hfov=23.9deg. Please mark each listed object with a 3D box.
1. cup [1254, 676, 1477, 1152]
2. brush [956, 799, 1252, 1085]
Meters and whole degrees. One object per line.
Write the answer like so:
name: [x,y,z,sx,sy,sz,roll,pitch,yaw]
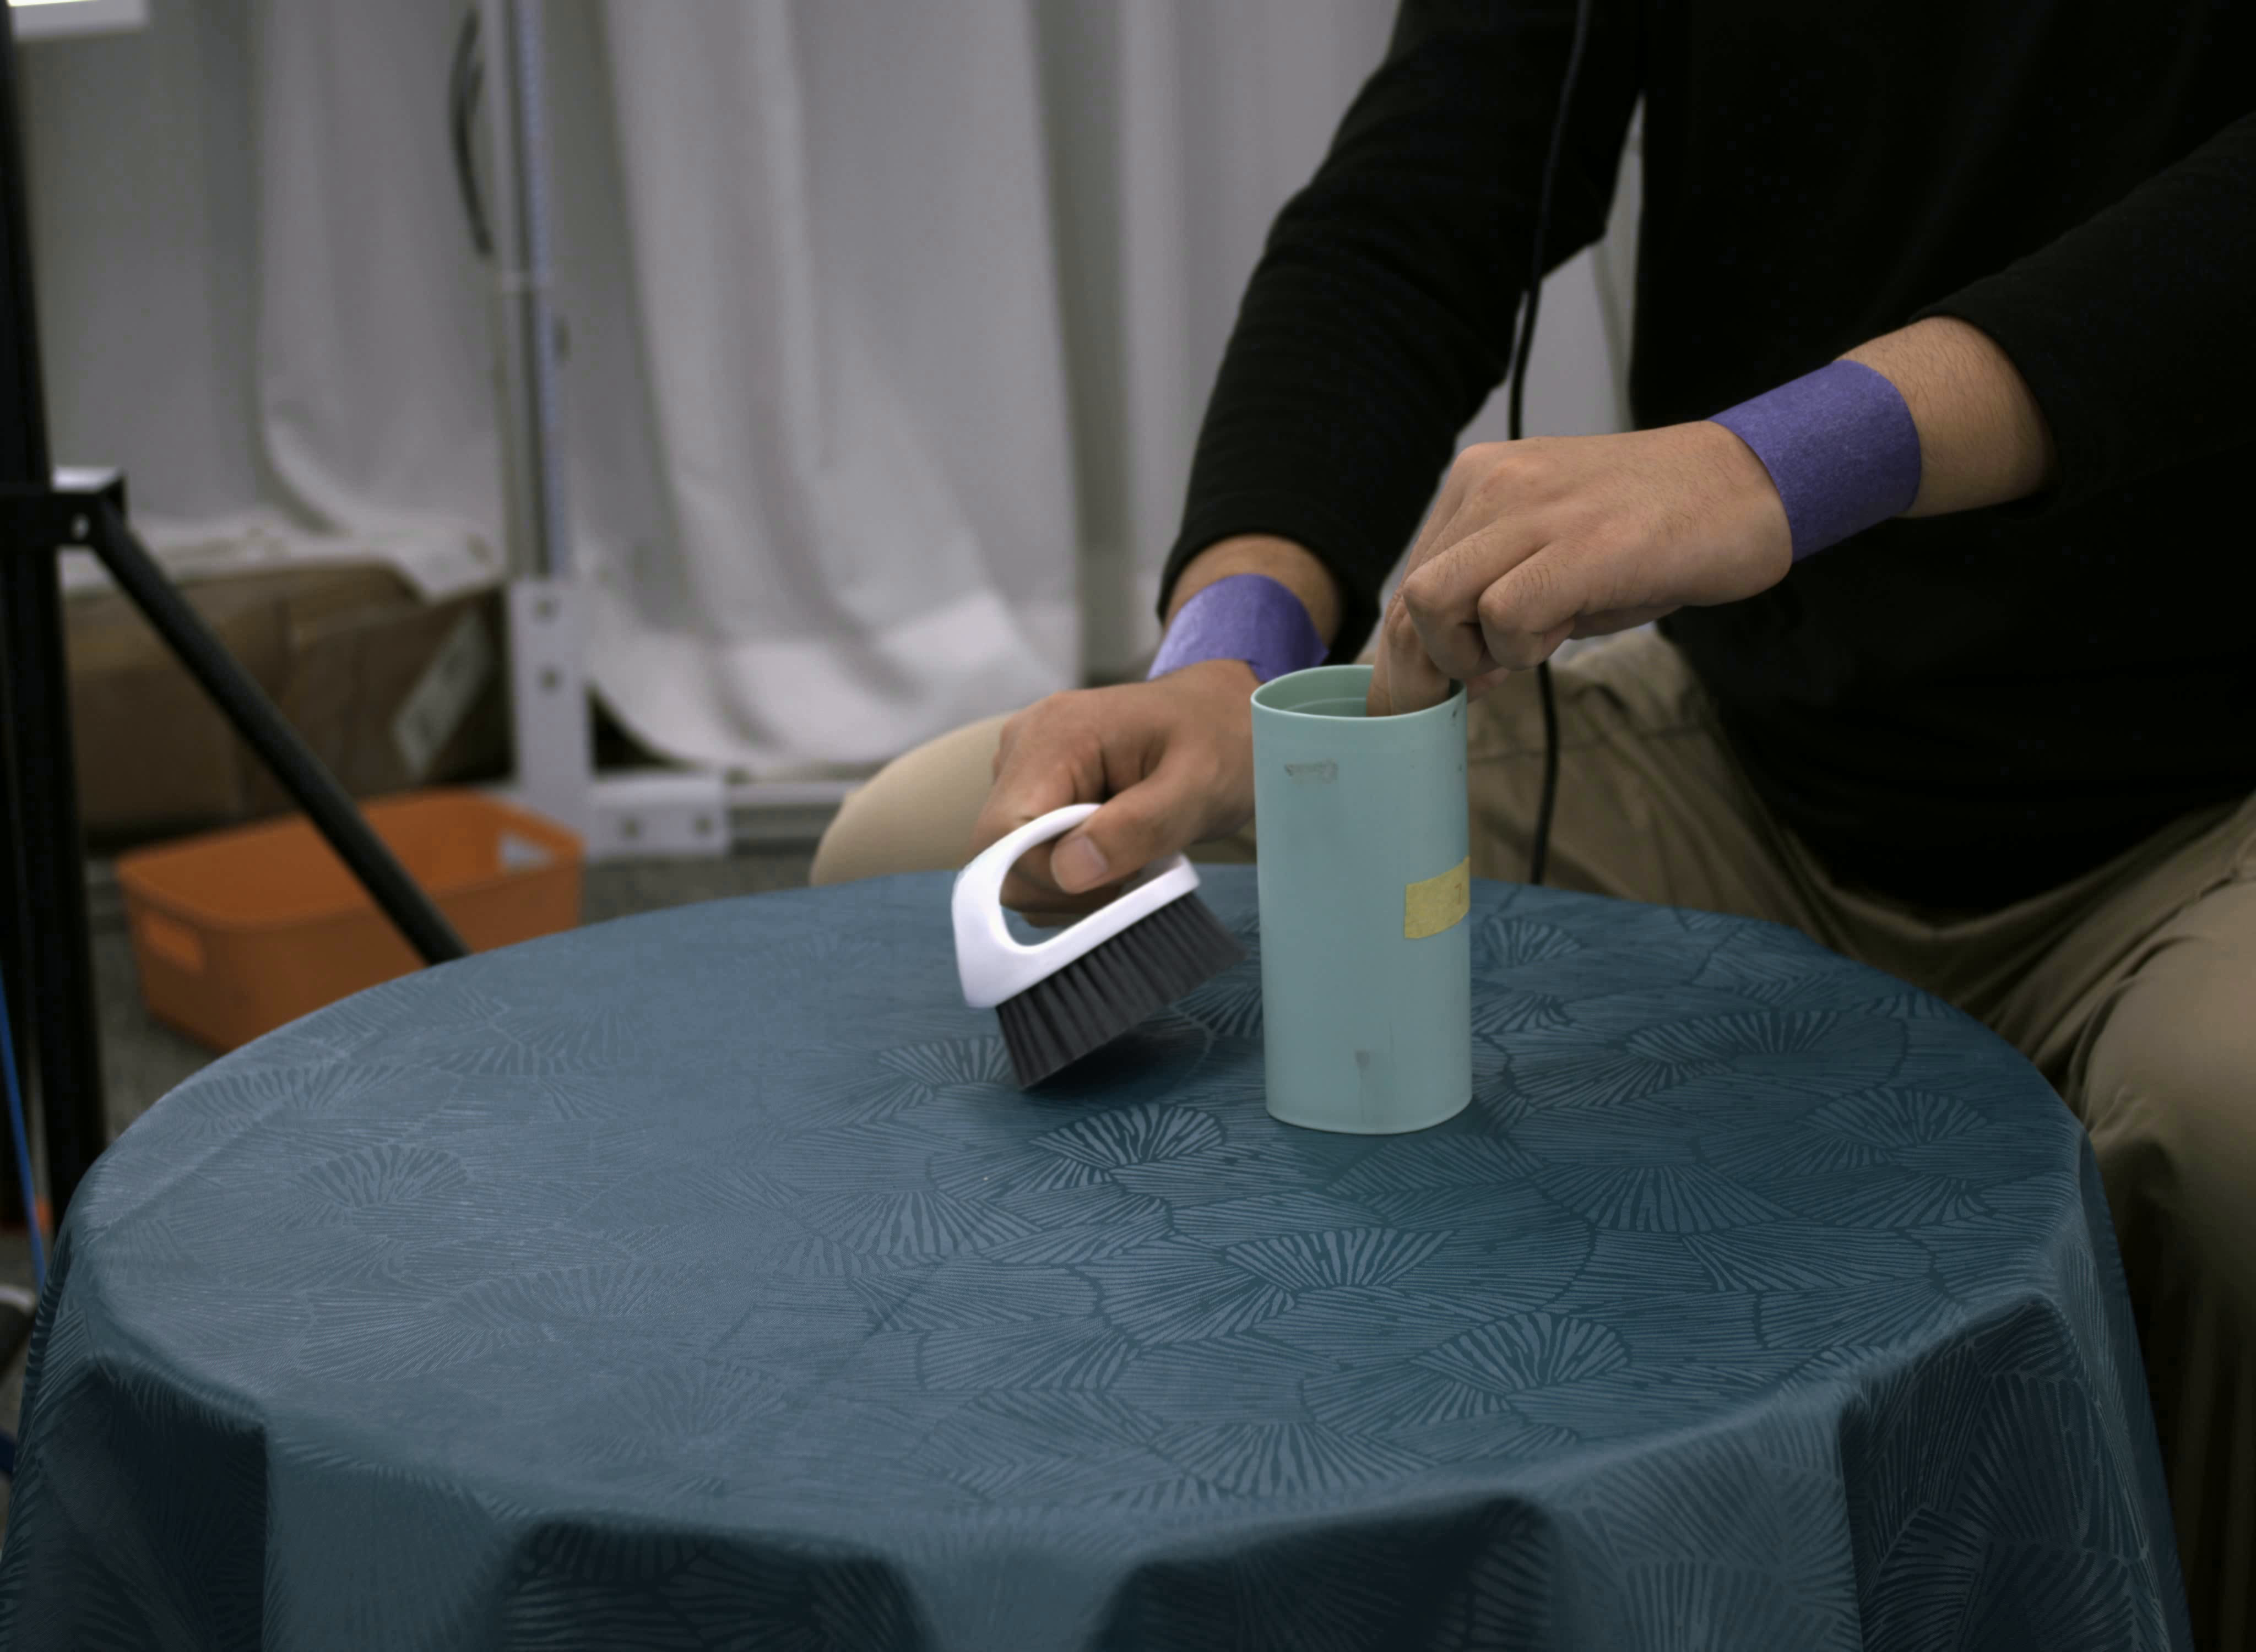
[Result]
cup: [0.072,0.026,1.612,0.066,0.132,0.067,-3,15,-1]
brush: [-0.014,0.030,1.678,0.097,0.073,0.051,-29,-5,-44]
